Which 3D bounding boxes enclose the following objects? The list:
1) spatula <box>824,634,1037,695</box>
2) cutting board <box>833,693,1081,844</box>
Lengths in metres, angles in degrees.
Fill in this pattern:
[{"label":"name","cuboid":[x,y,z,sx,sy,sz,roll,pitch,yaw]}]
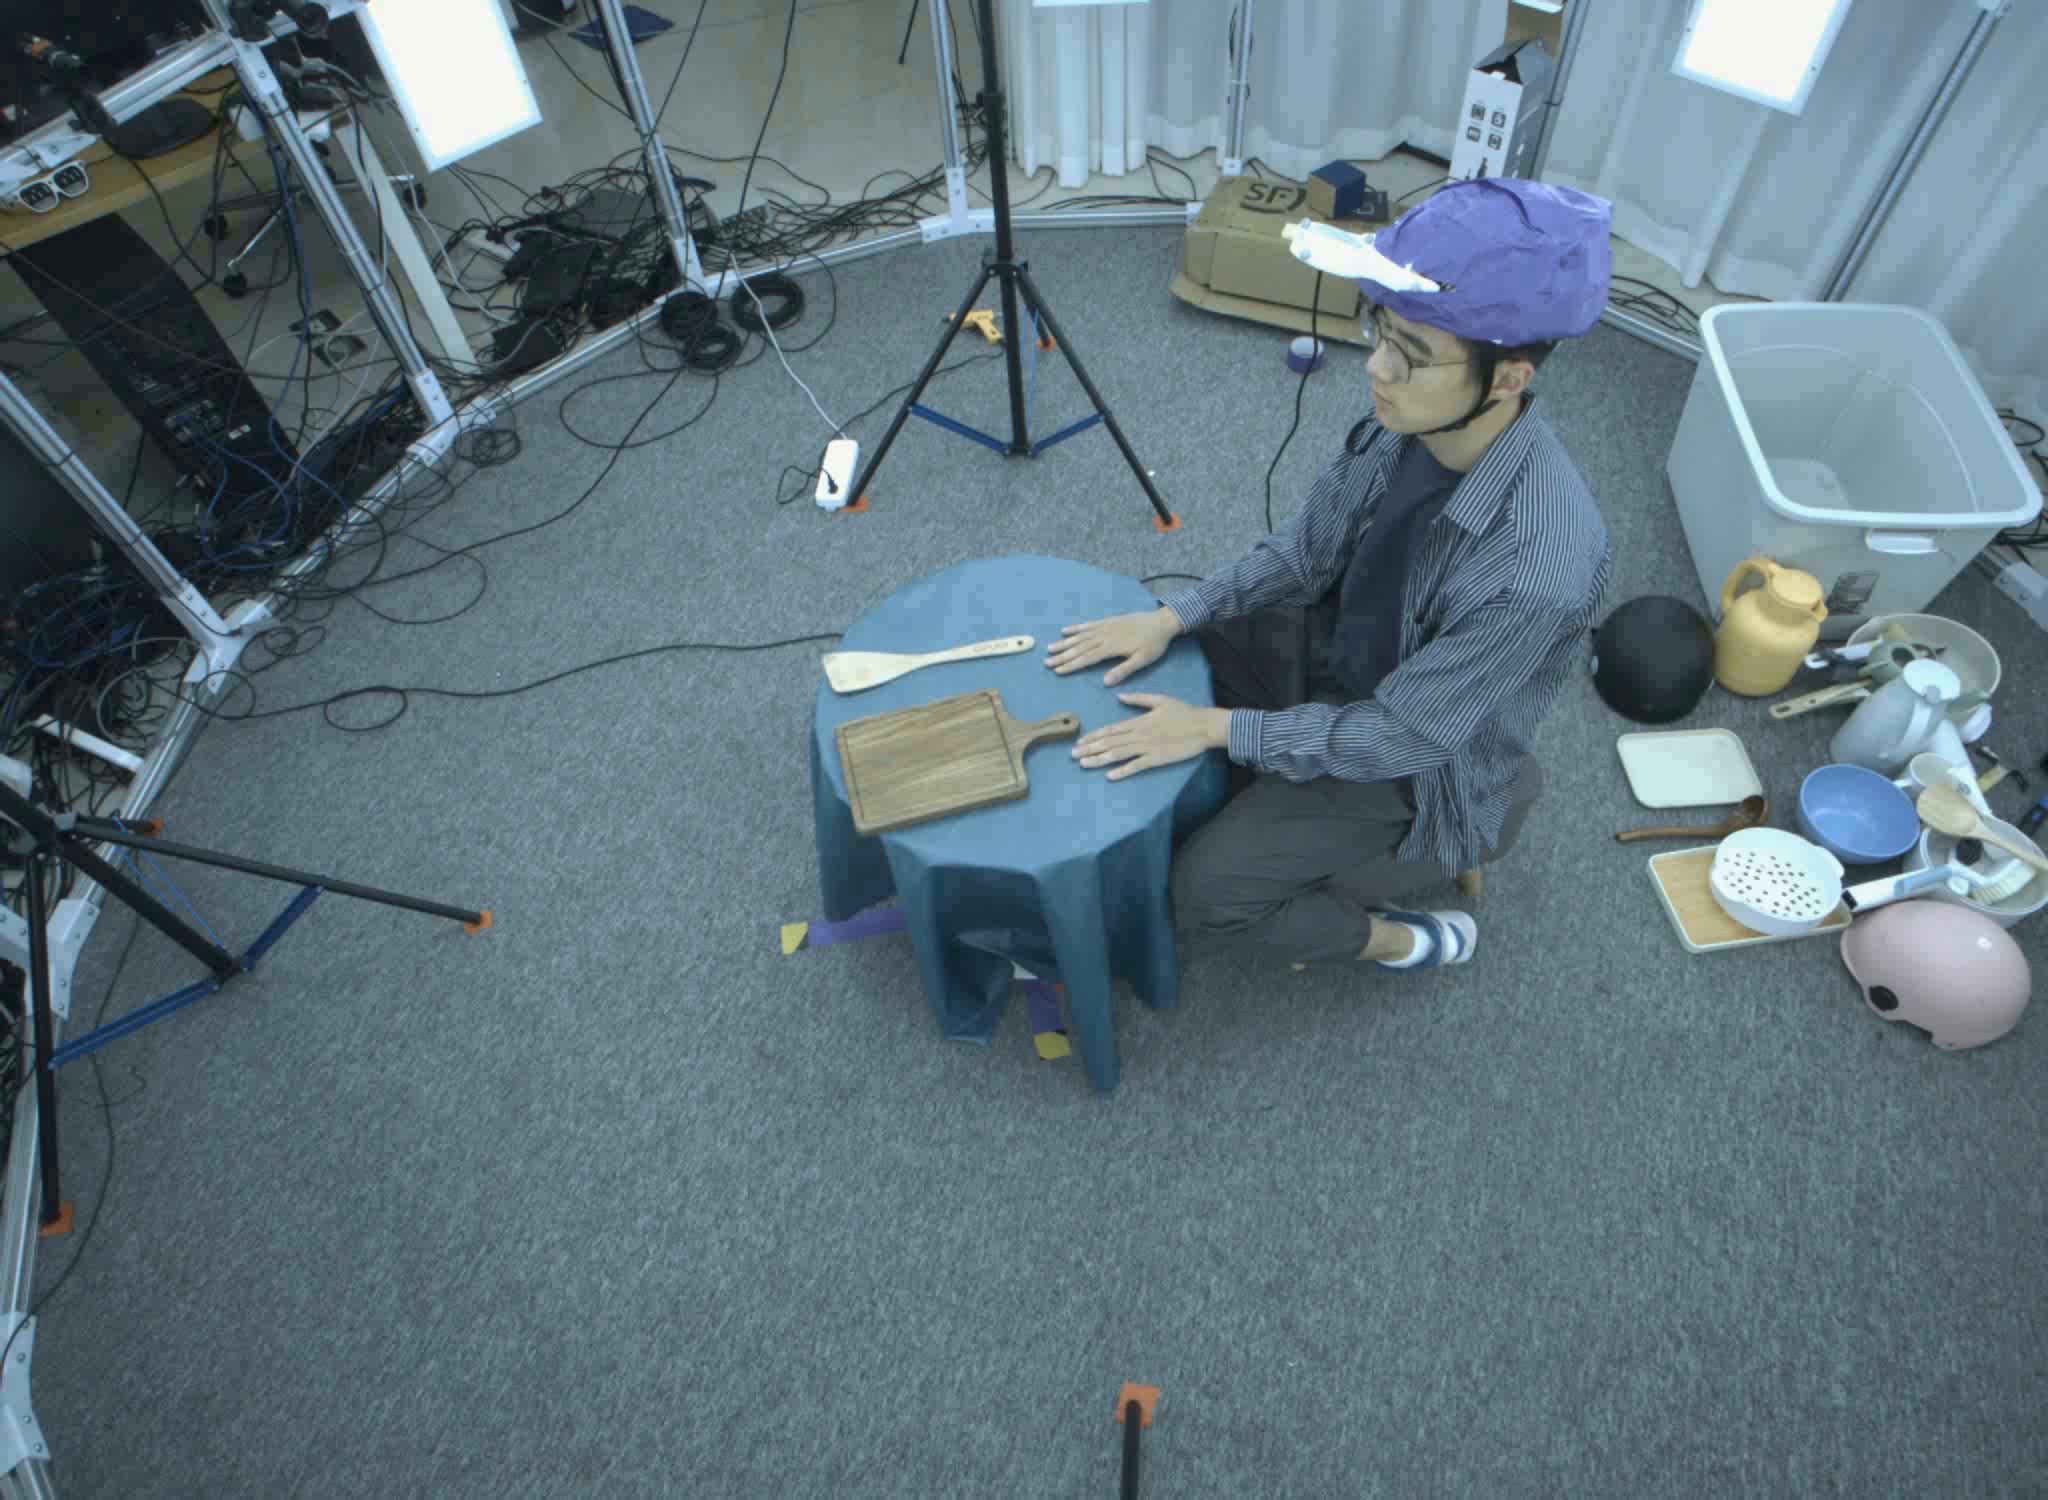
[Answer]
[{"label":"spatula","cuboid":[-0.142,-0.141,1.886,0.329,0.017,0.079,-11,56,-6]},{"label":"cutting board","cuboid":[-0.088,0.011,1.774,0.354,0.023,0.198,-13,56,-8]}]
